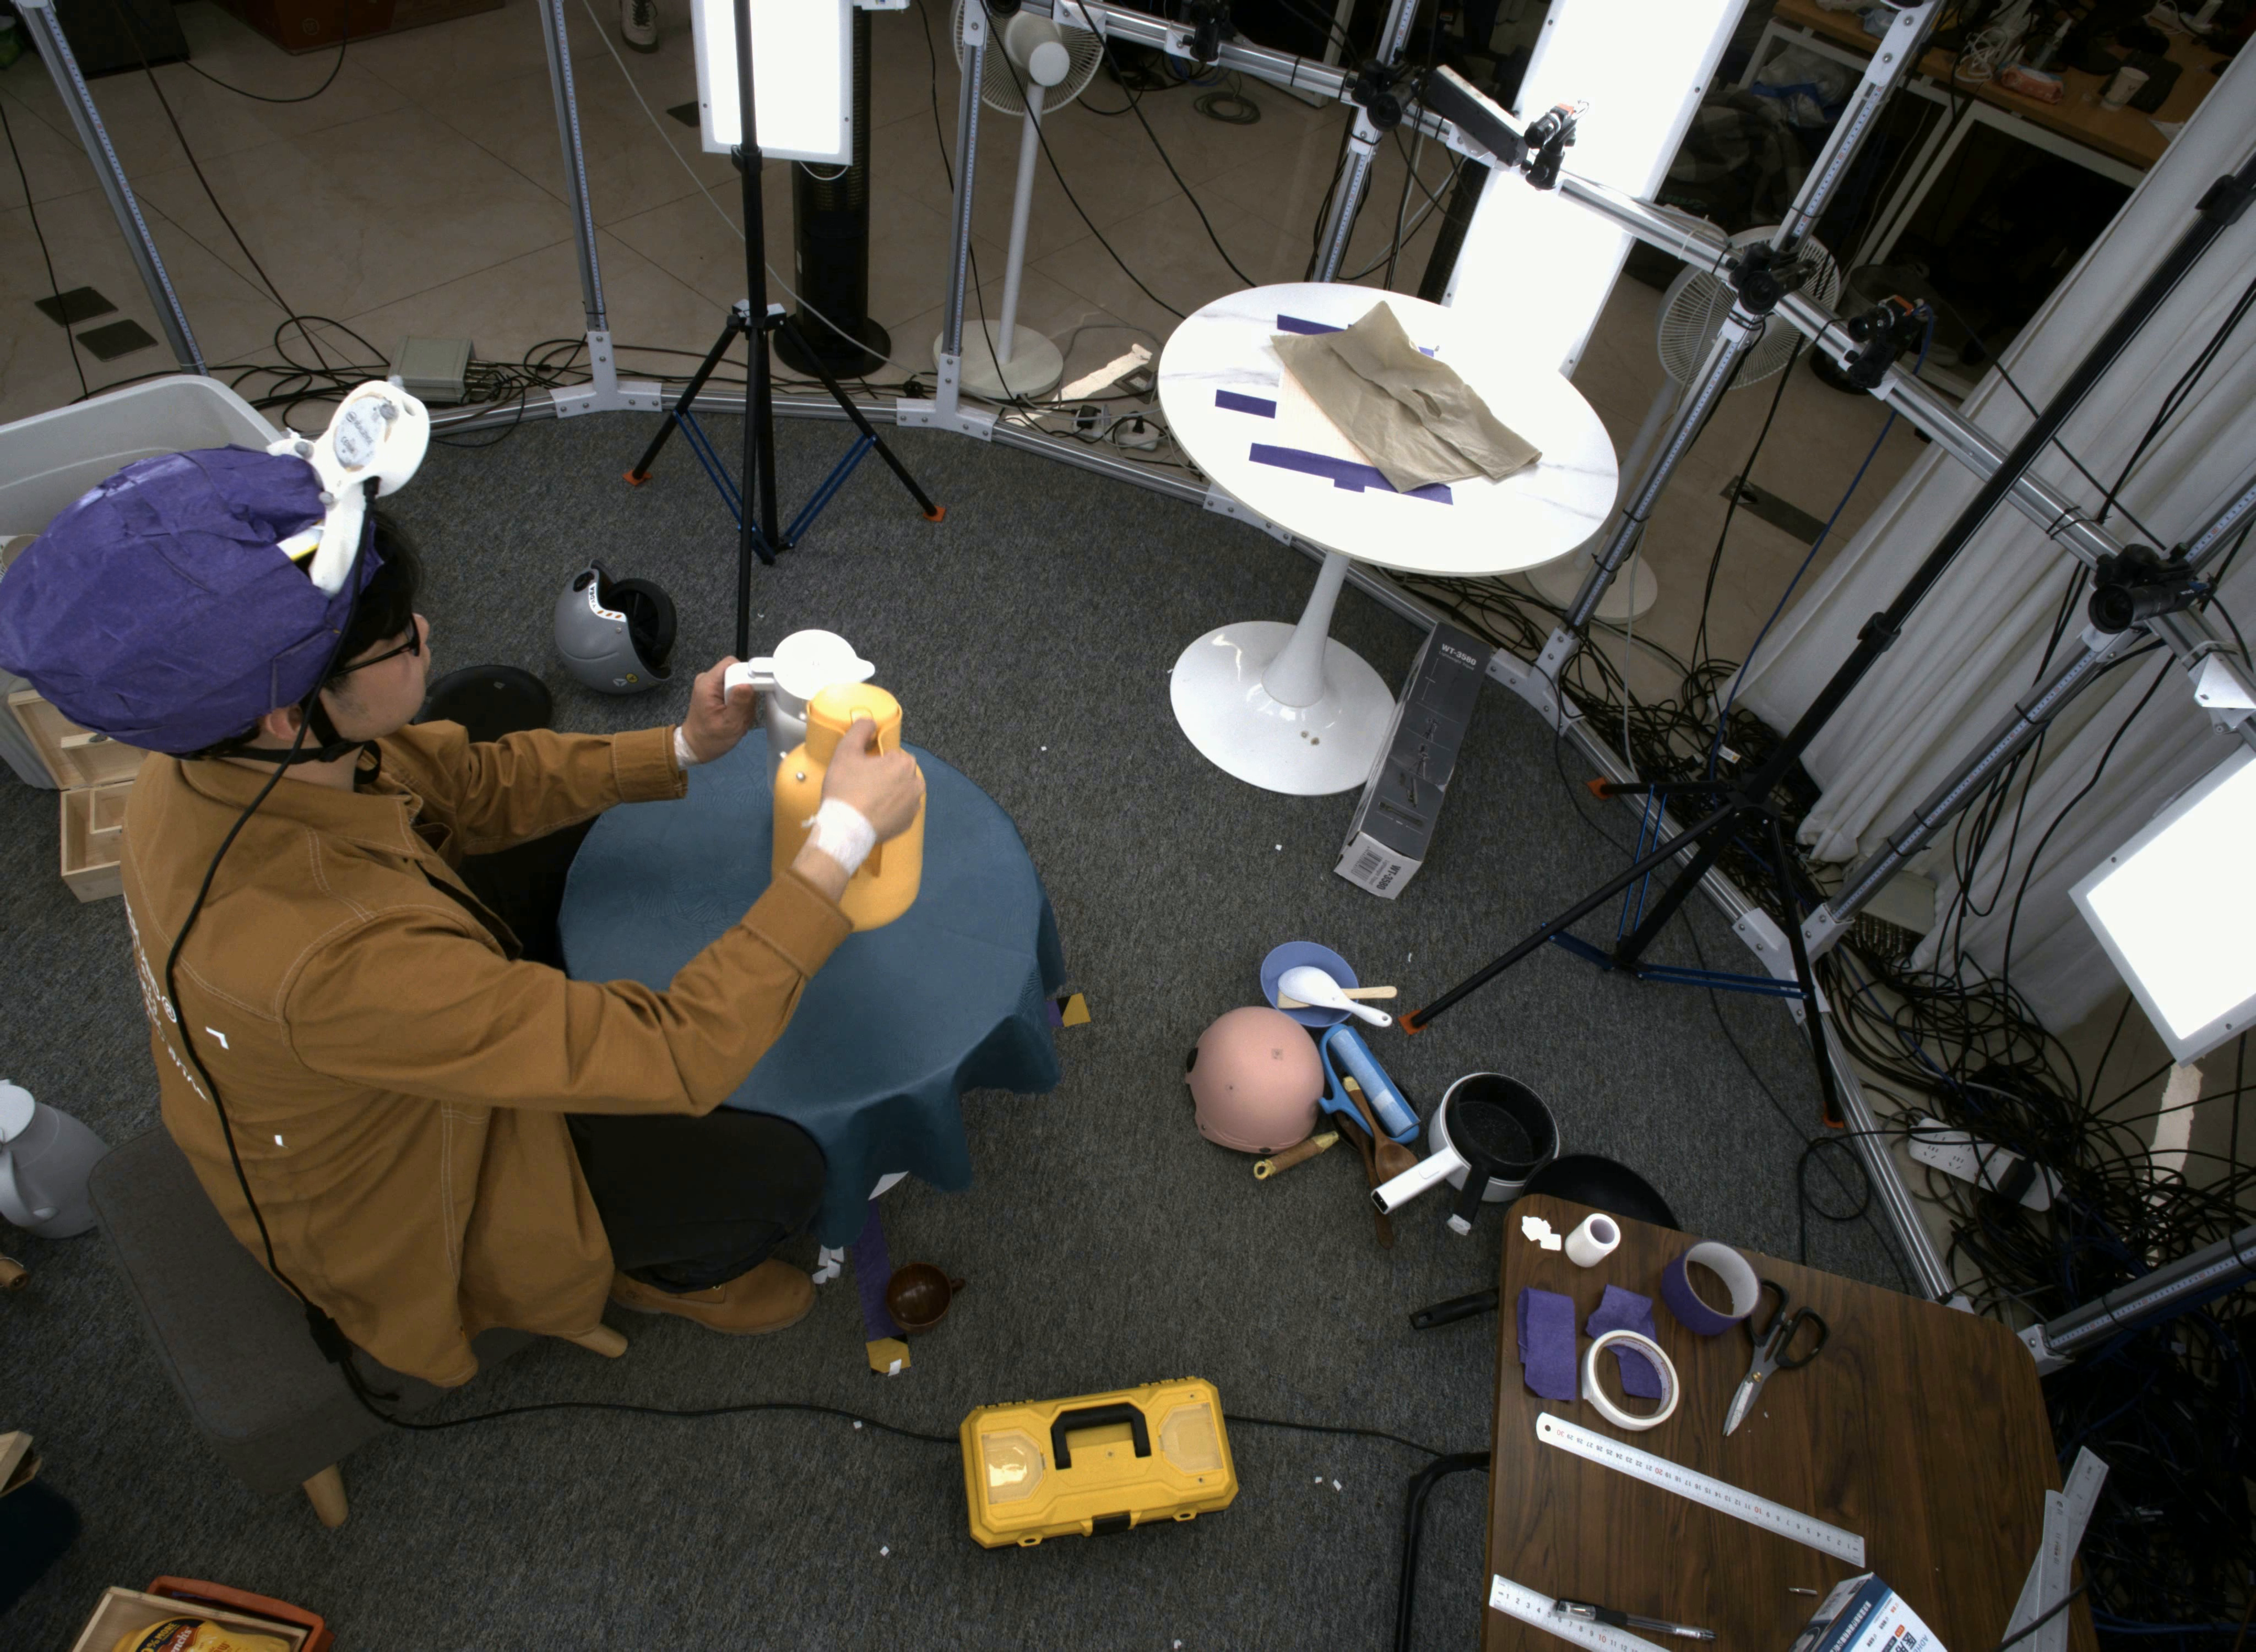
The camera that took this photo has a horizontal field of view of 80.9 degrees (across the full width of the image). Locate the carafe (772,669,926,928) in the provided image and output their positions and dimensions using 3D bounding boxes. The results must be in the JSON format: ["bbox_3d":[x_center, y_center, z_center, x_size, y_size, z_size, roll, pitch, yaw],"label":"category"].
[{"bbox_3d":[-0.292,-0.022,1.366,0.164,0.268,0.196,-6,35,-17],"label":"carafe"}]

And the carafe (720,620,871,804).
[{"bbox_3d":[-0.402,-0.125,1.572,0.173,0.272,0.122,-3,64,-16],"label":"carafe"}]
